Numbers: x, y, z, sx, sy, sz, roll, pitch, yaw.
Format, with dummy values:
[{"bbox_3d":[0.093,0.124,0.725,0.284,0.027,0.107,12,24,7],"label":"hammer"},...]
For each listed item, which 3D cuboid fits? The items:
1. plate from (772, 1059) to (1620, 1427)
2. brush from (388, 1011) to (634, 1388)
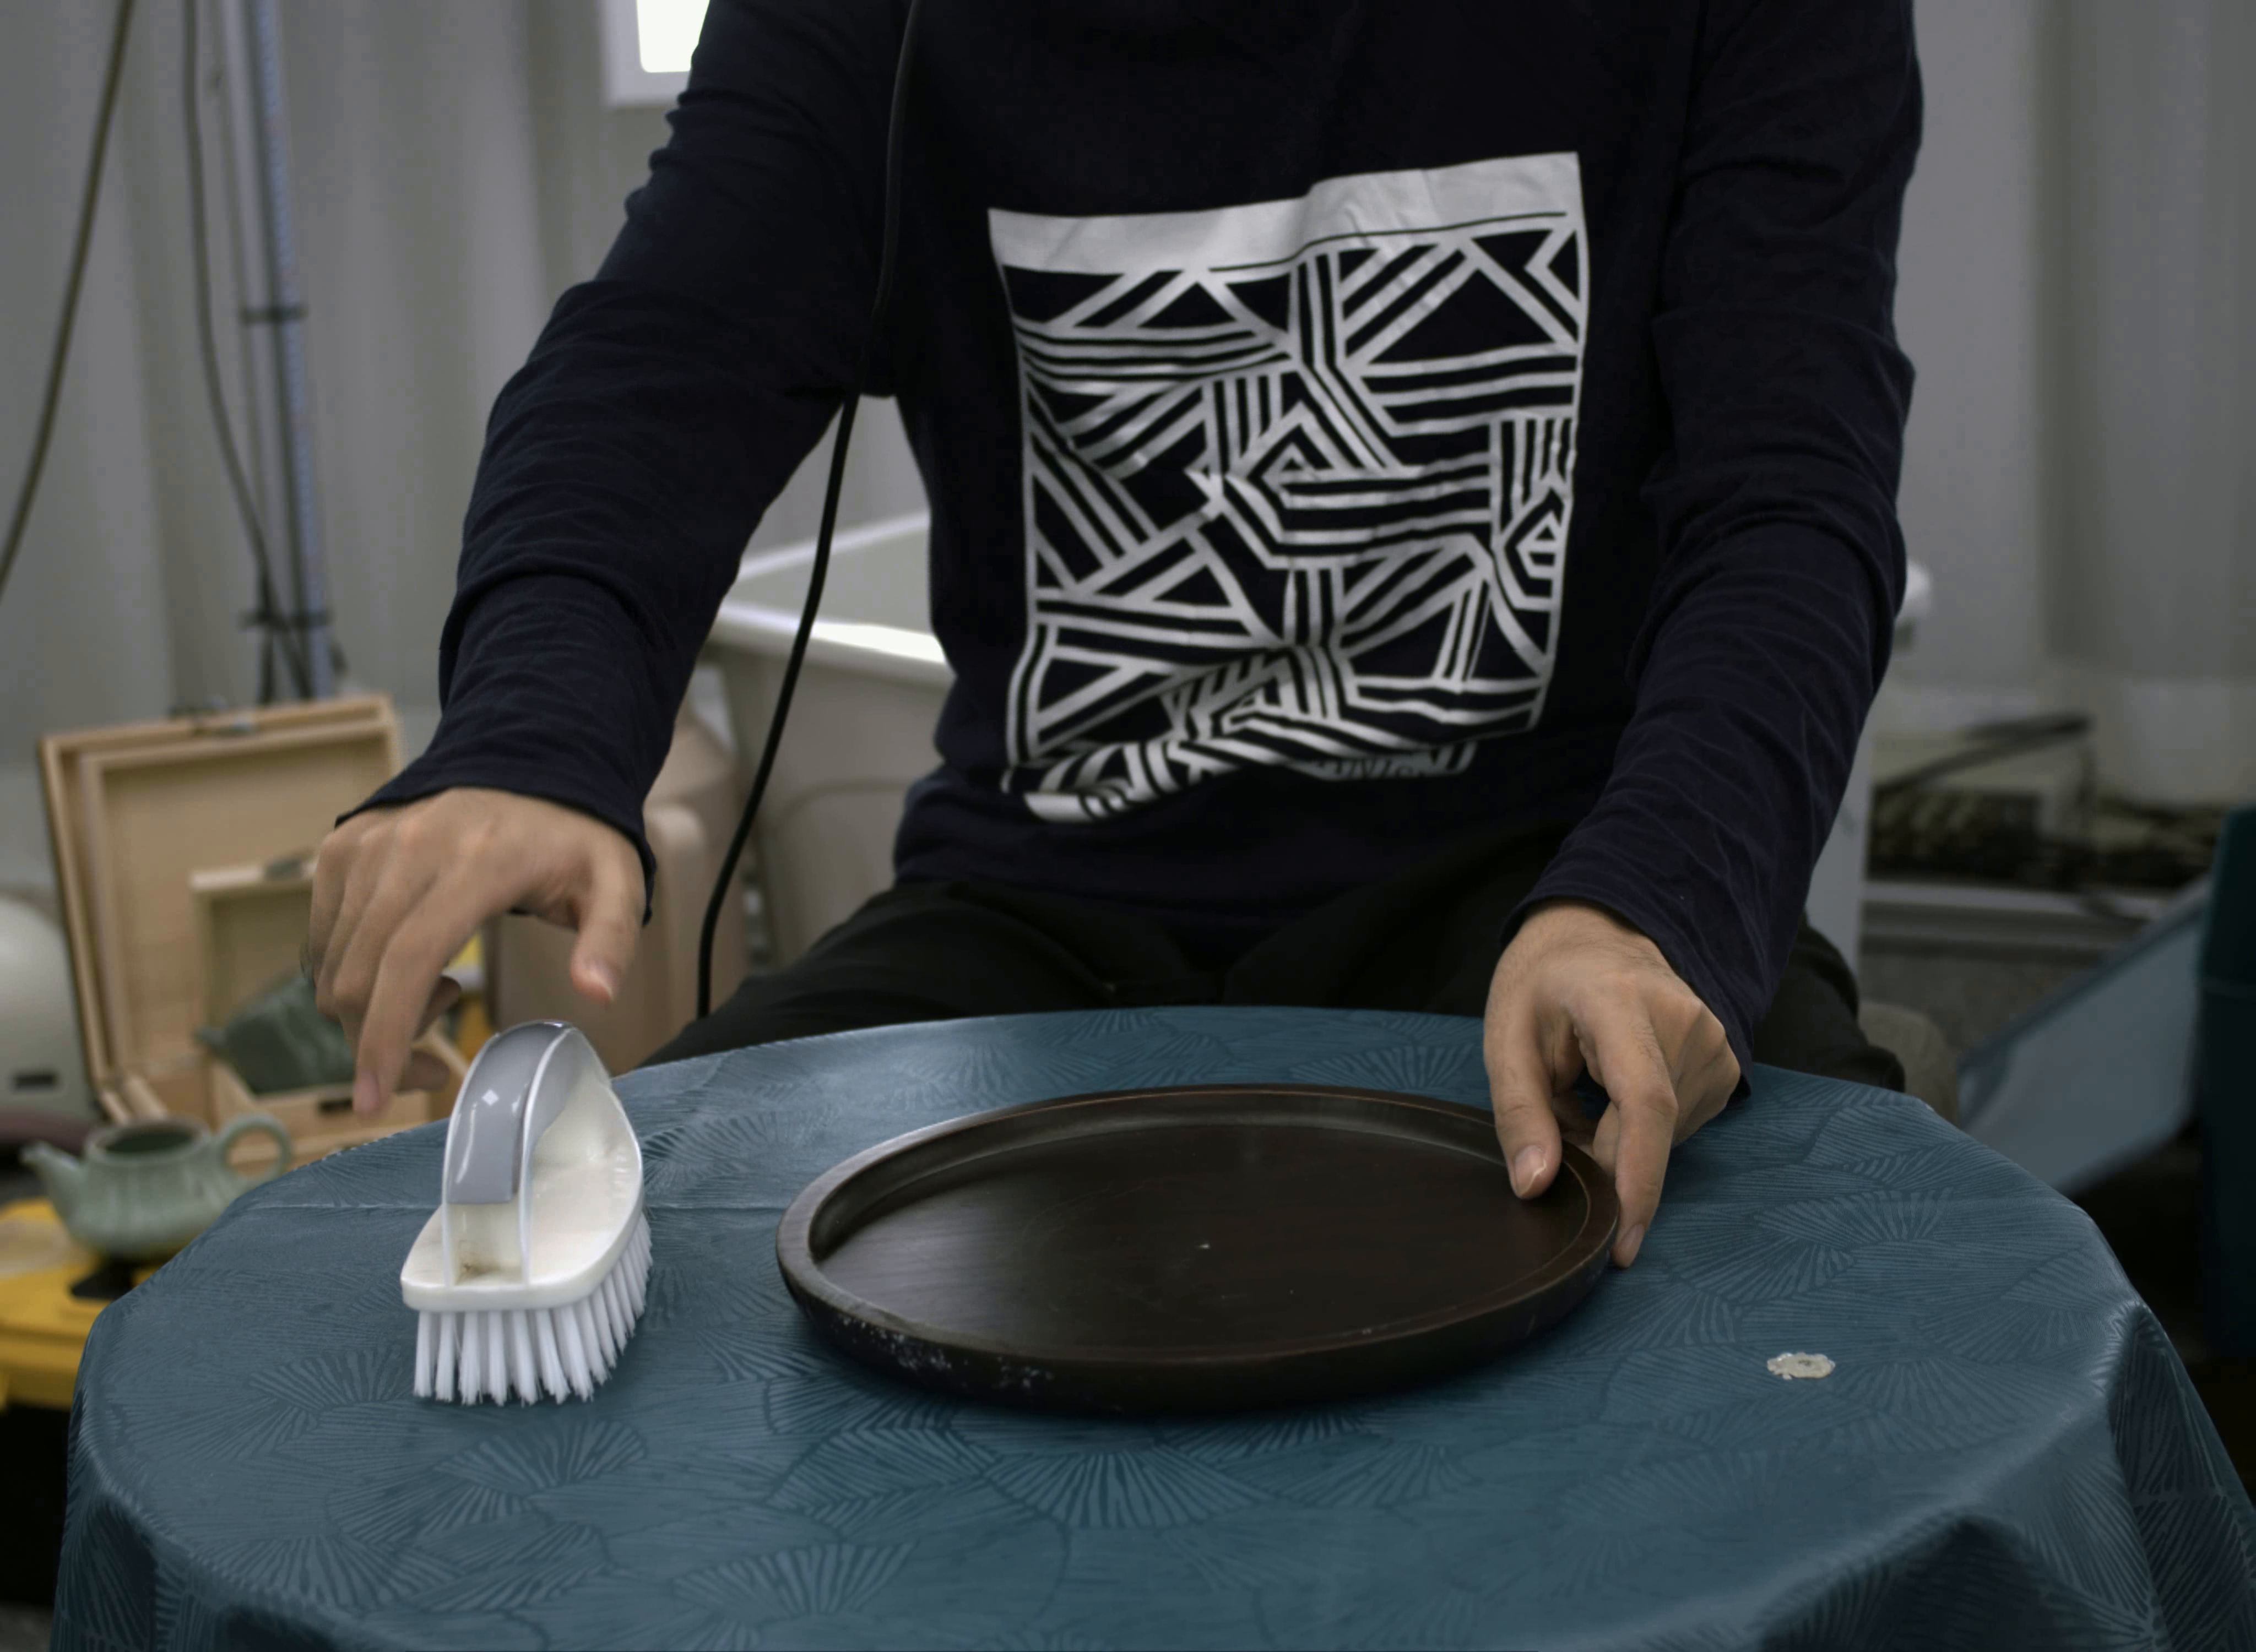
[{"bbox_3d":[0.020,0.125,1.630,0.254,0.029,0.256,-3,16,1],"label":"plate"},{"bbox_3d":[-0.176,0.100,1.629,0.061,0.094,0.176,-1,13,7],"label":"brush"}]
